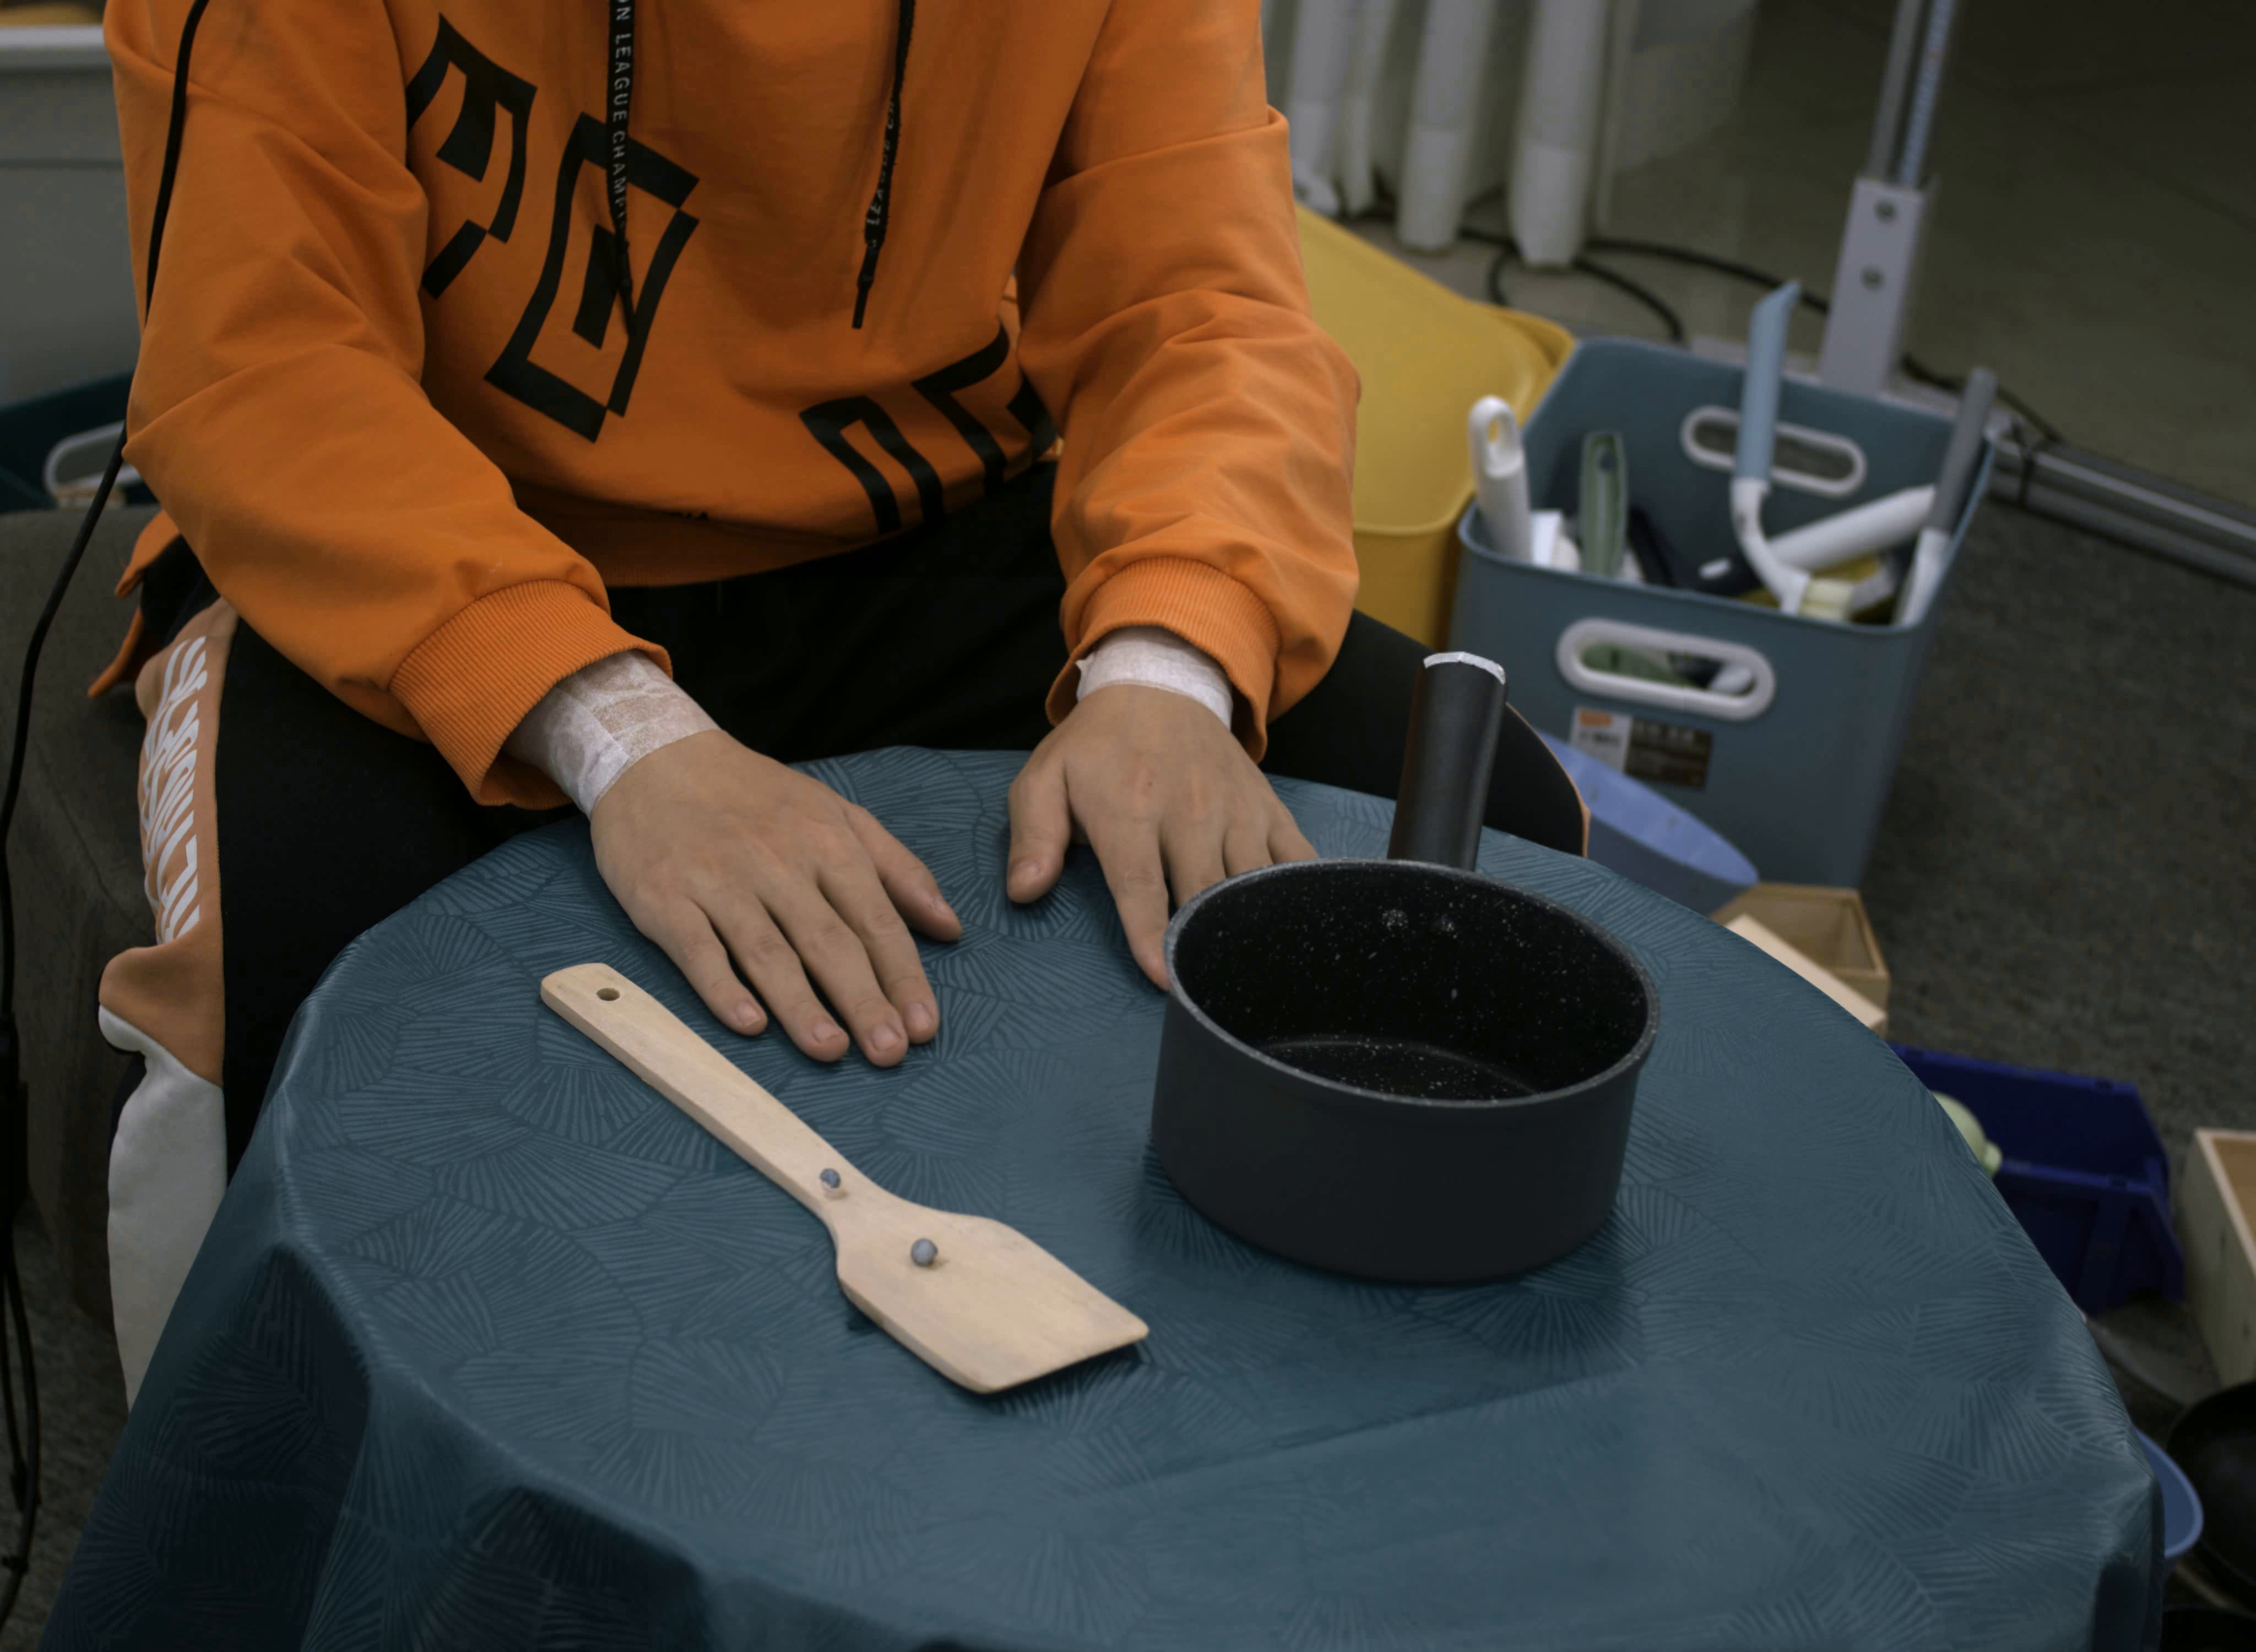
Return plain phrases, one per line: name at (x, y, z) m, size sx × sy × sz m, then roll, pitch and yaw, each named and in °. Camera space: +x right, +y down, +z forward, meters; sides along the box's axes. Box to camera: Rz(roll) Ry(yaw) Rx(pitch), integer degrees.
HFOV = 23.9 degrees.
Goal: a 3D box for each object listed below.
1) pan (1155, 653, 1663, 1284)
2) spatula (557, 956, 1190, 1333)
pan at (0.106, 0.046, 1.886) m, size 0.172 × 0.086 × 0.330 m, roll 11°, pitch 29°, yaw 6°
spatula at (-0.100, 0.104, 1.788) m, size 0.072 × 0.010 × 0.295 m, roll -7°, pitch 27°, yaw -43°
